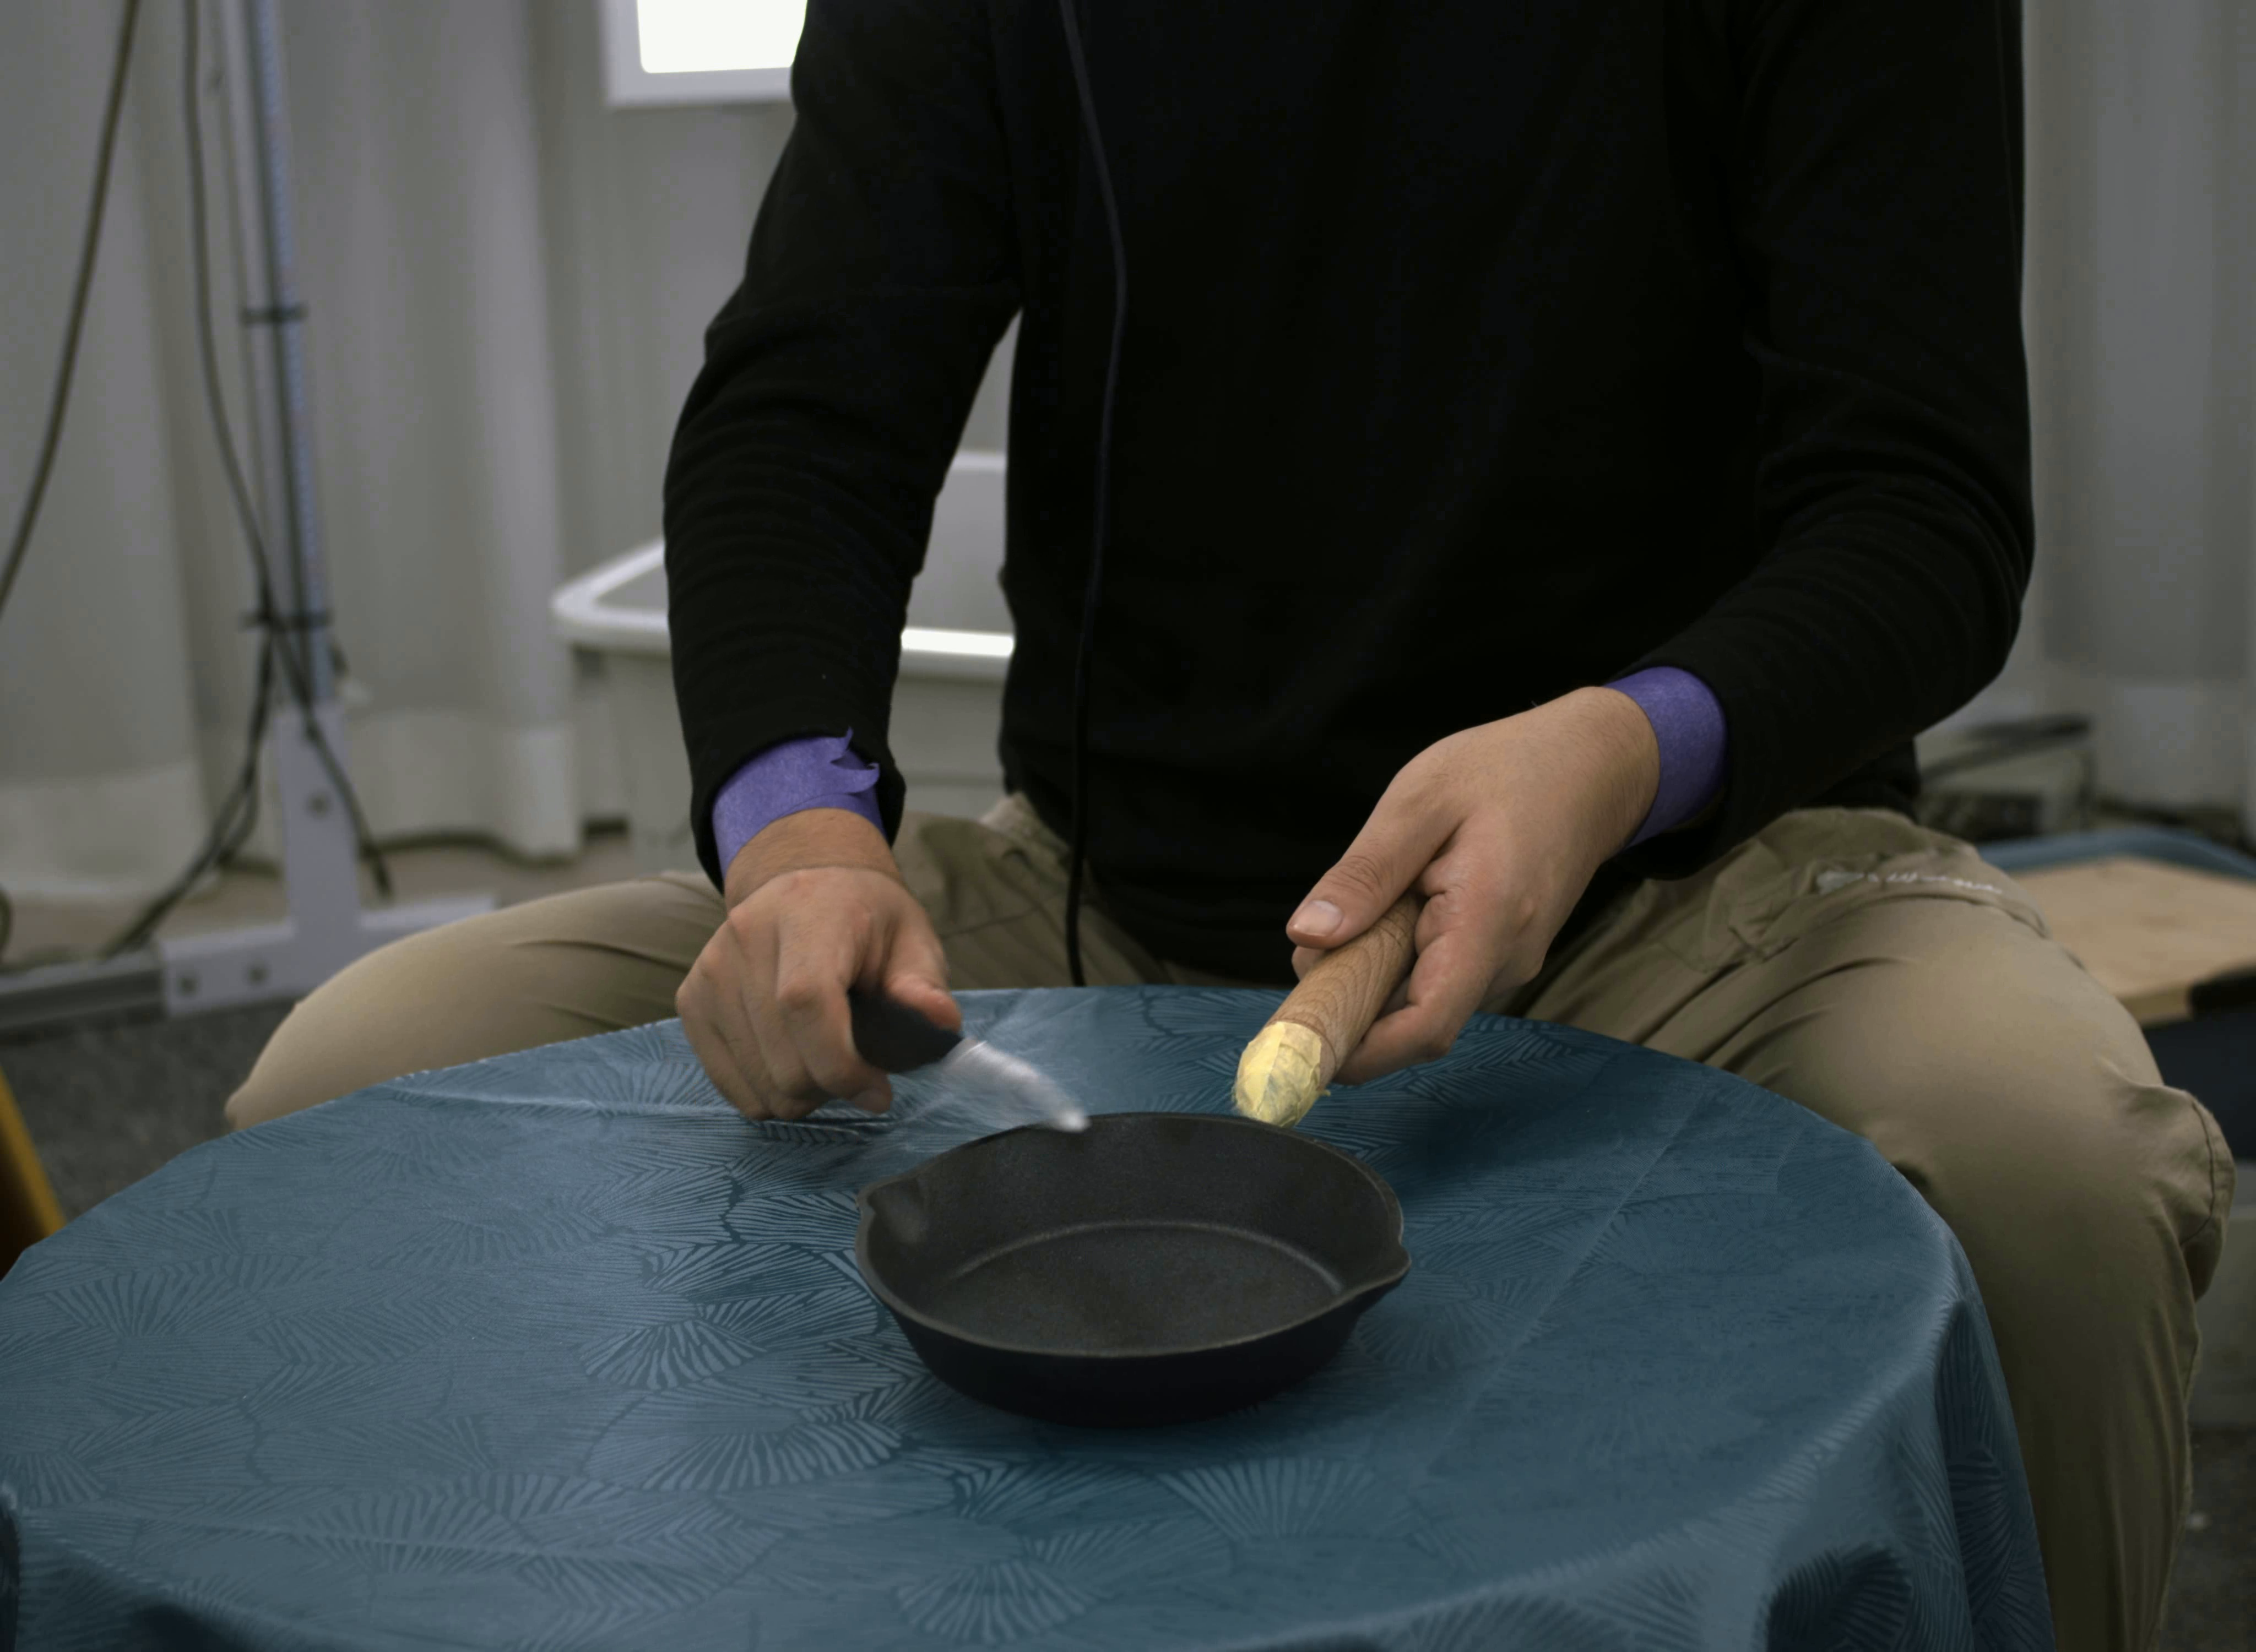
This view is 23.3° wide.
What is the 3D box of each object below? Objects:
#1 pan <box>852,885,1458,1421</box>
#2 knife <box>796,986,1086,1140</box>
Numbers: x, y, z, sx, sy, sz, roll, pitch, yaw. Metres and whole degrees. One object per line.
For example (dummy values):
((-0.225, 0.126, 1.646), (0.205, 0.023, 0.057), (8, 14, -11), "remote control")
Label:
((0.035, 0.094, 1.636), (0.169, 0.049, 0.325), (8, 23, 24), "pan")
((-0.059, 0.075, 1.666), (0.024, 0.016, 0.239), (-32, 17, -15), "knife")
